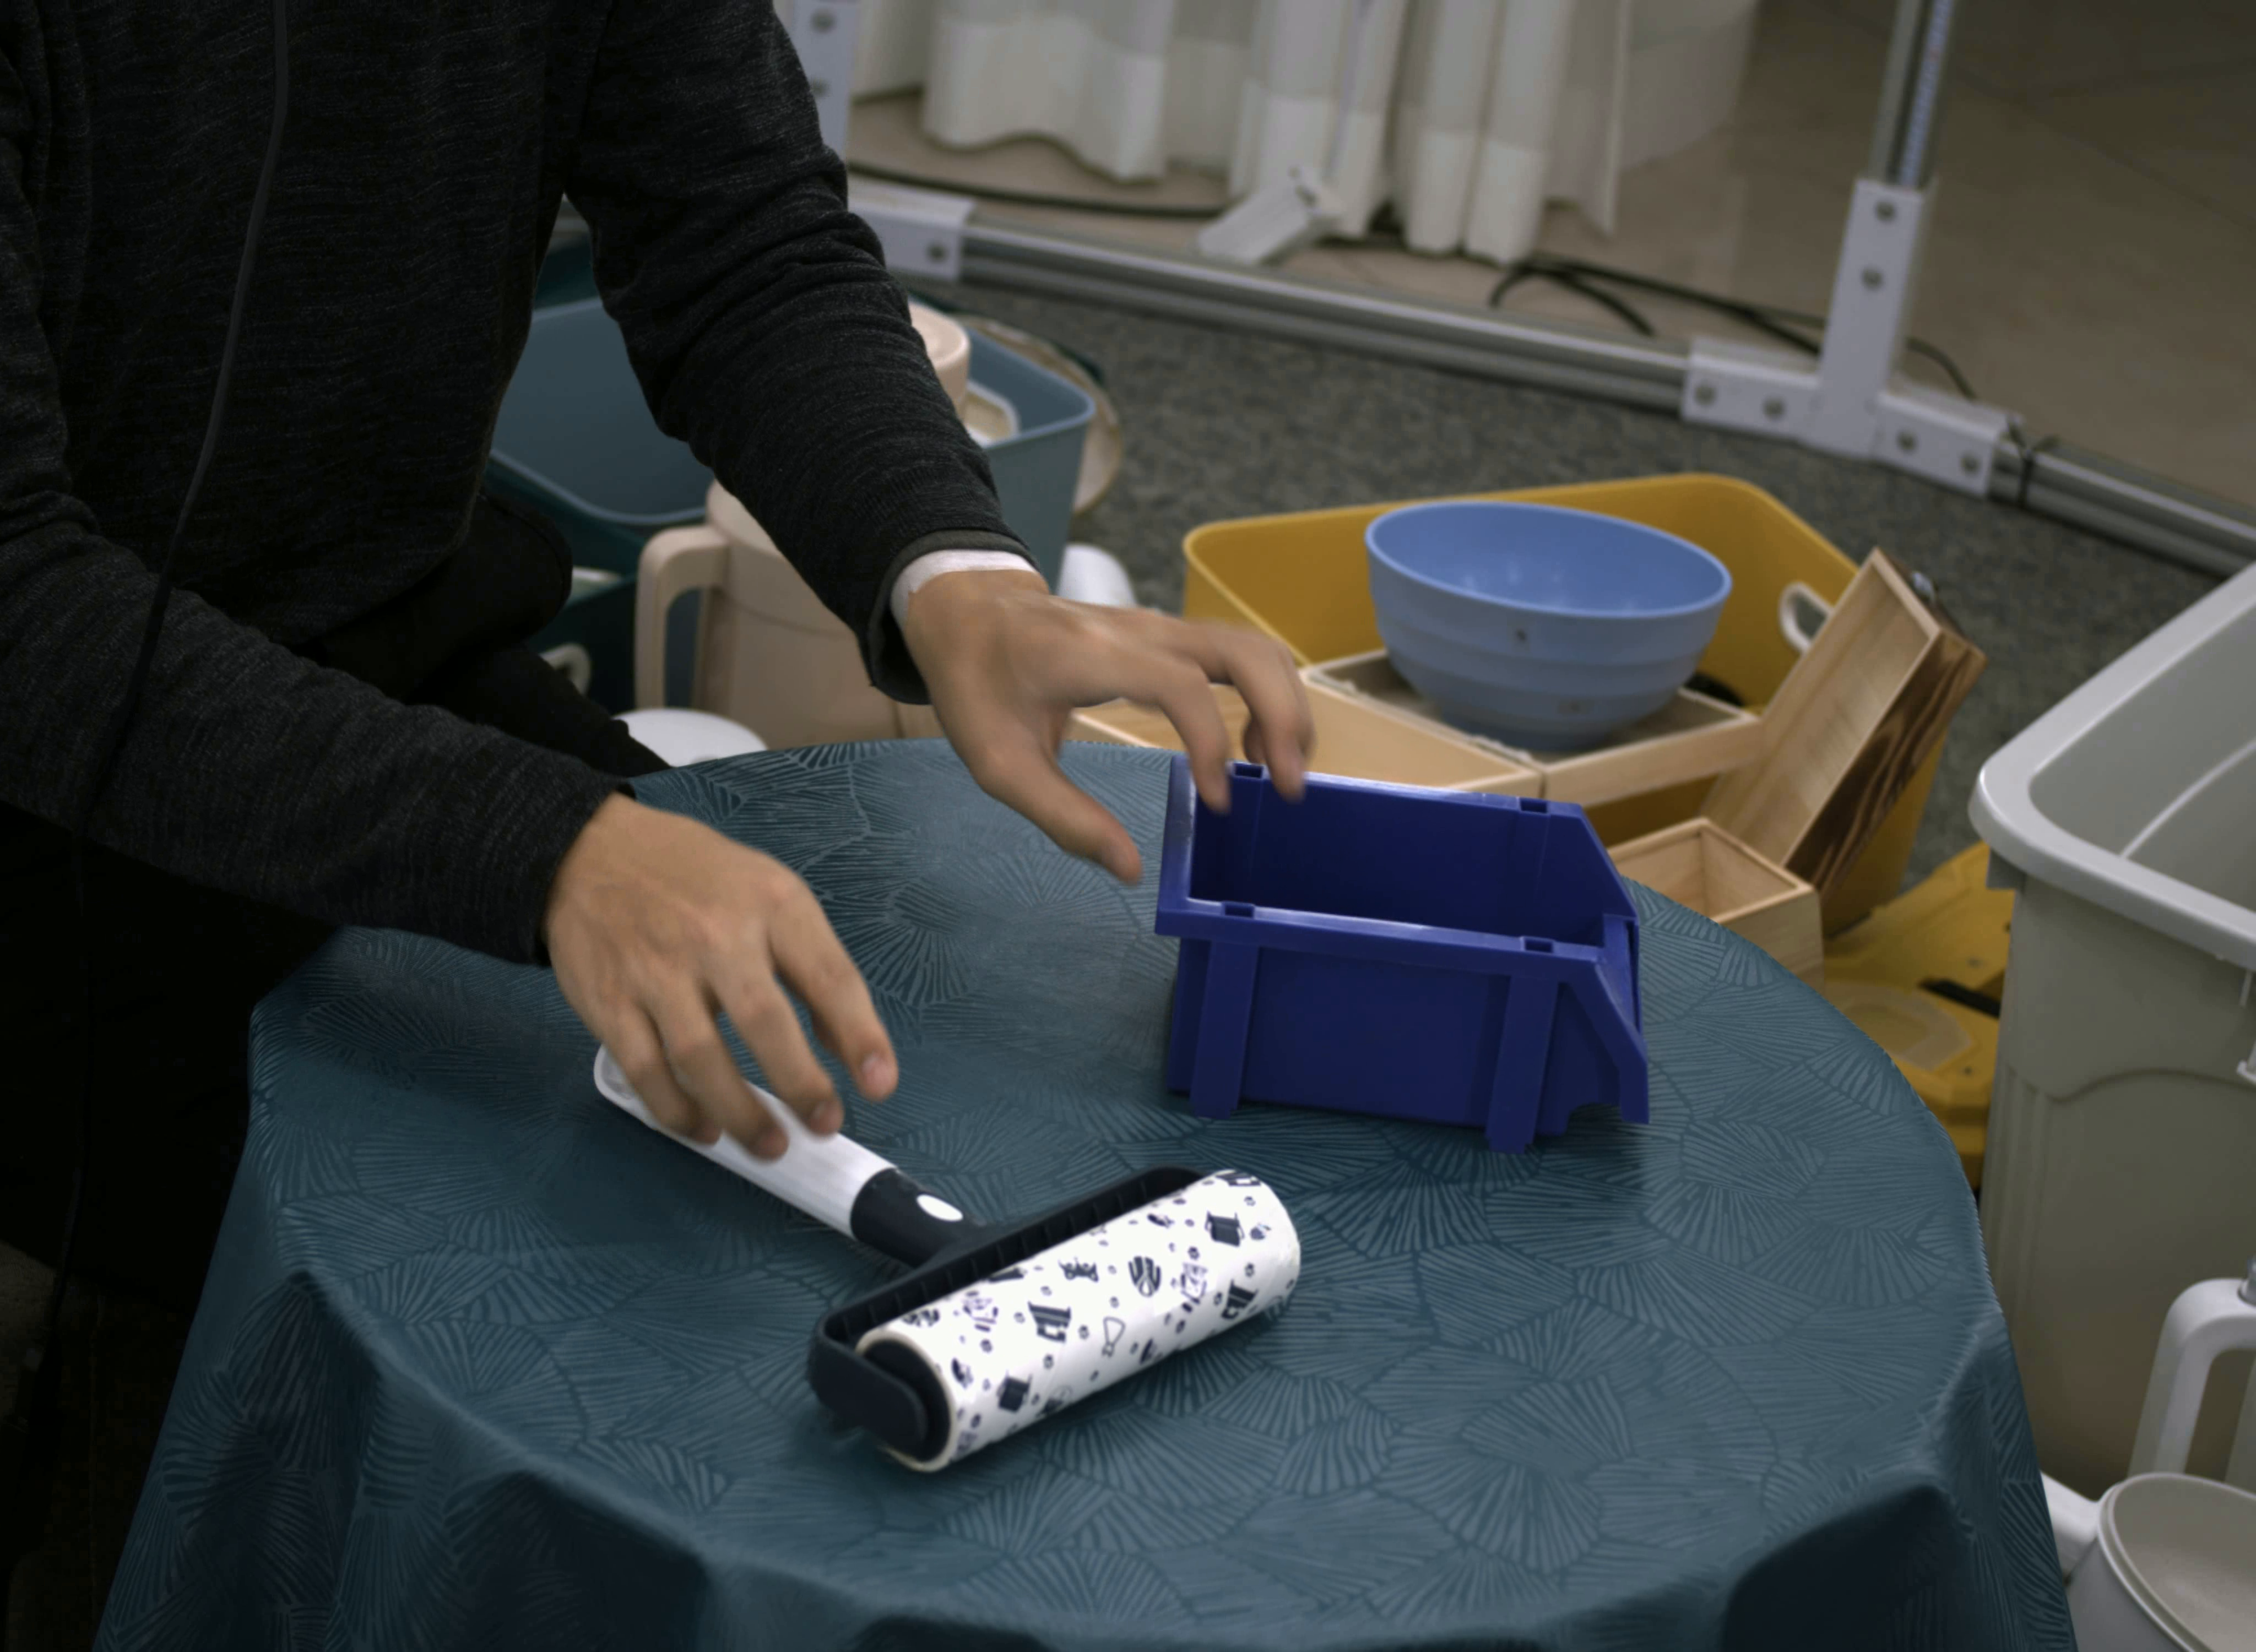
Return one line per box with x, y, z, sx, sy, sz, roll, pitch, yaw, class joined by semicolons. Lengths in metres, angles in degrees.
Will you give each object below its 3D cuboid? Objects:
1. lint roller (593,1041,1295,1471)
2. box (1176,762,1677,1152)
-0.089;0.119;1.744;0.249;0.050;0.175;27;34;36;lint roller
0.107;0.046;1.888;0.179;0.081;0.125;5;26;3;box
